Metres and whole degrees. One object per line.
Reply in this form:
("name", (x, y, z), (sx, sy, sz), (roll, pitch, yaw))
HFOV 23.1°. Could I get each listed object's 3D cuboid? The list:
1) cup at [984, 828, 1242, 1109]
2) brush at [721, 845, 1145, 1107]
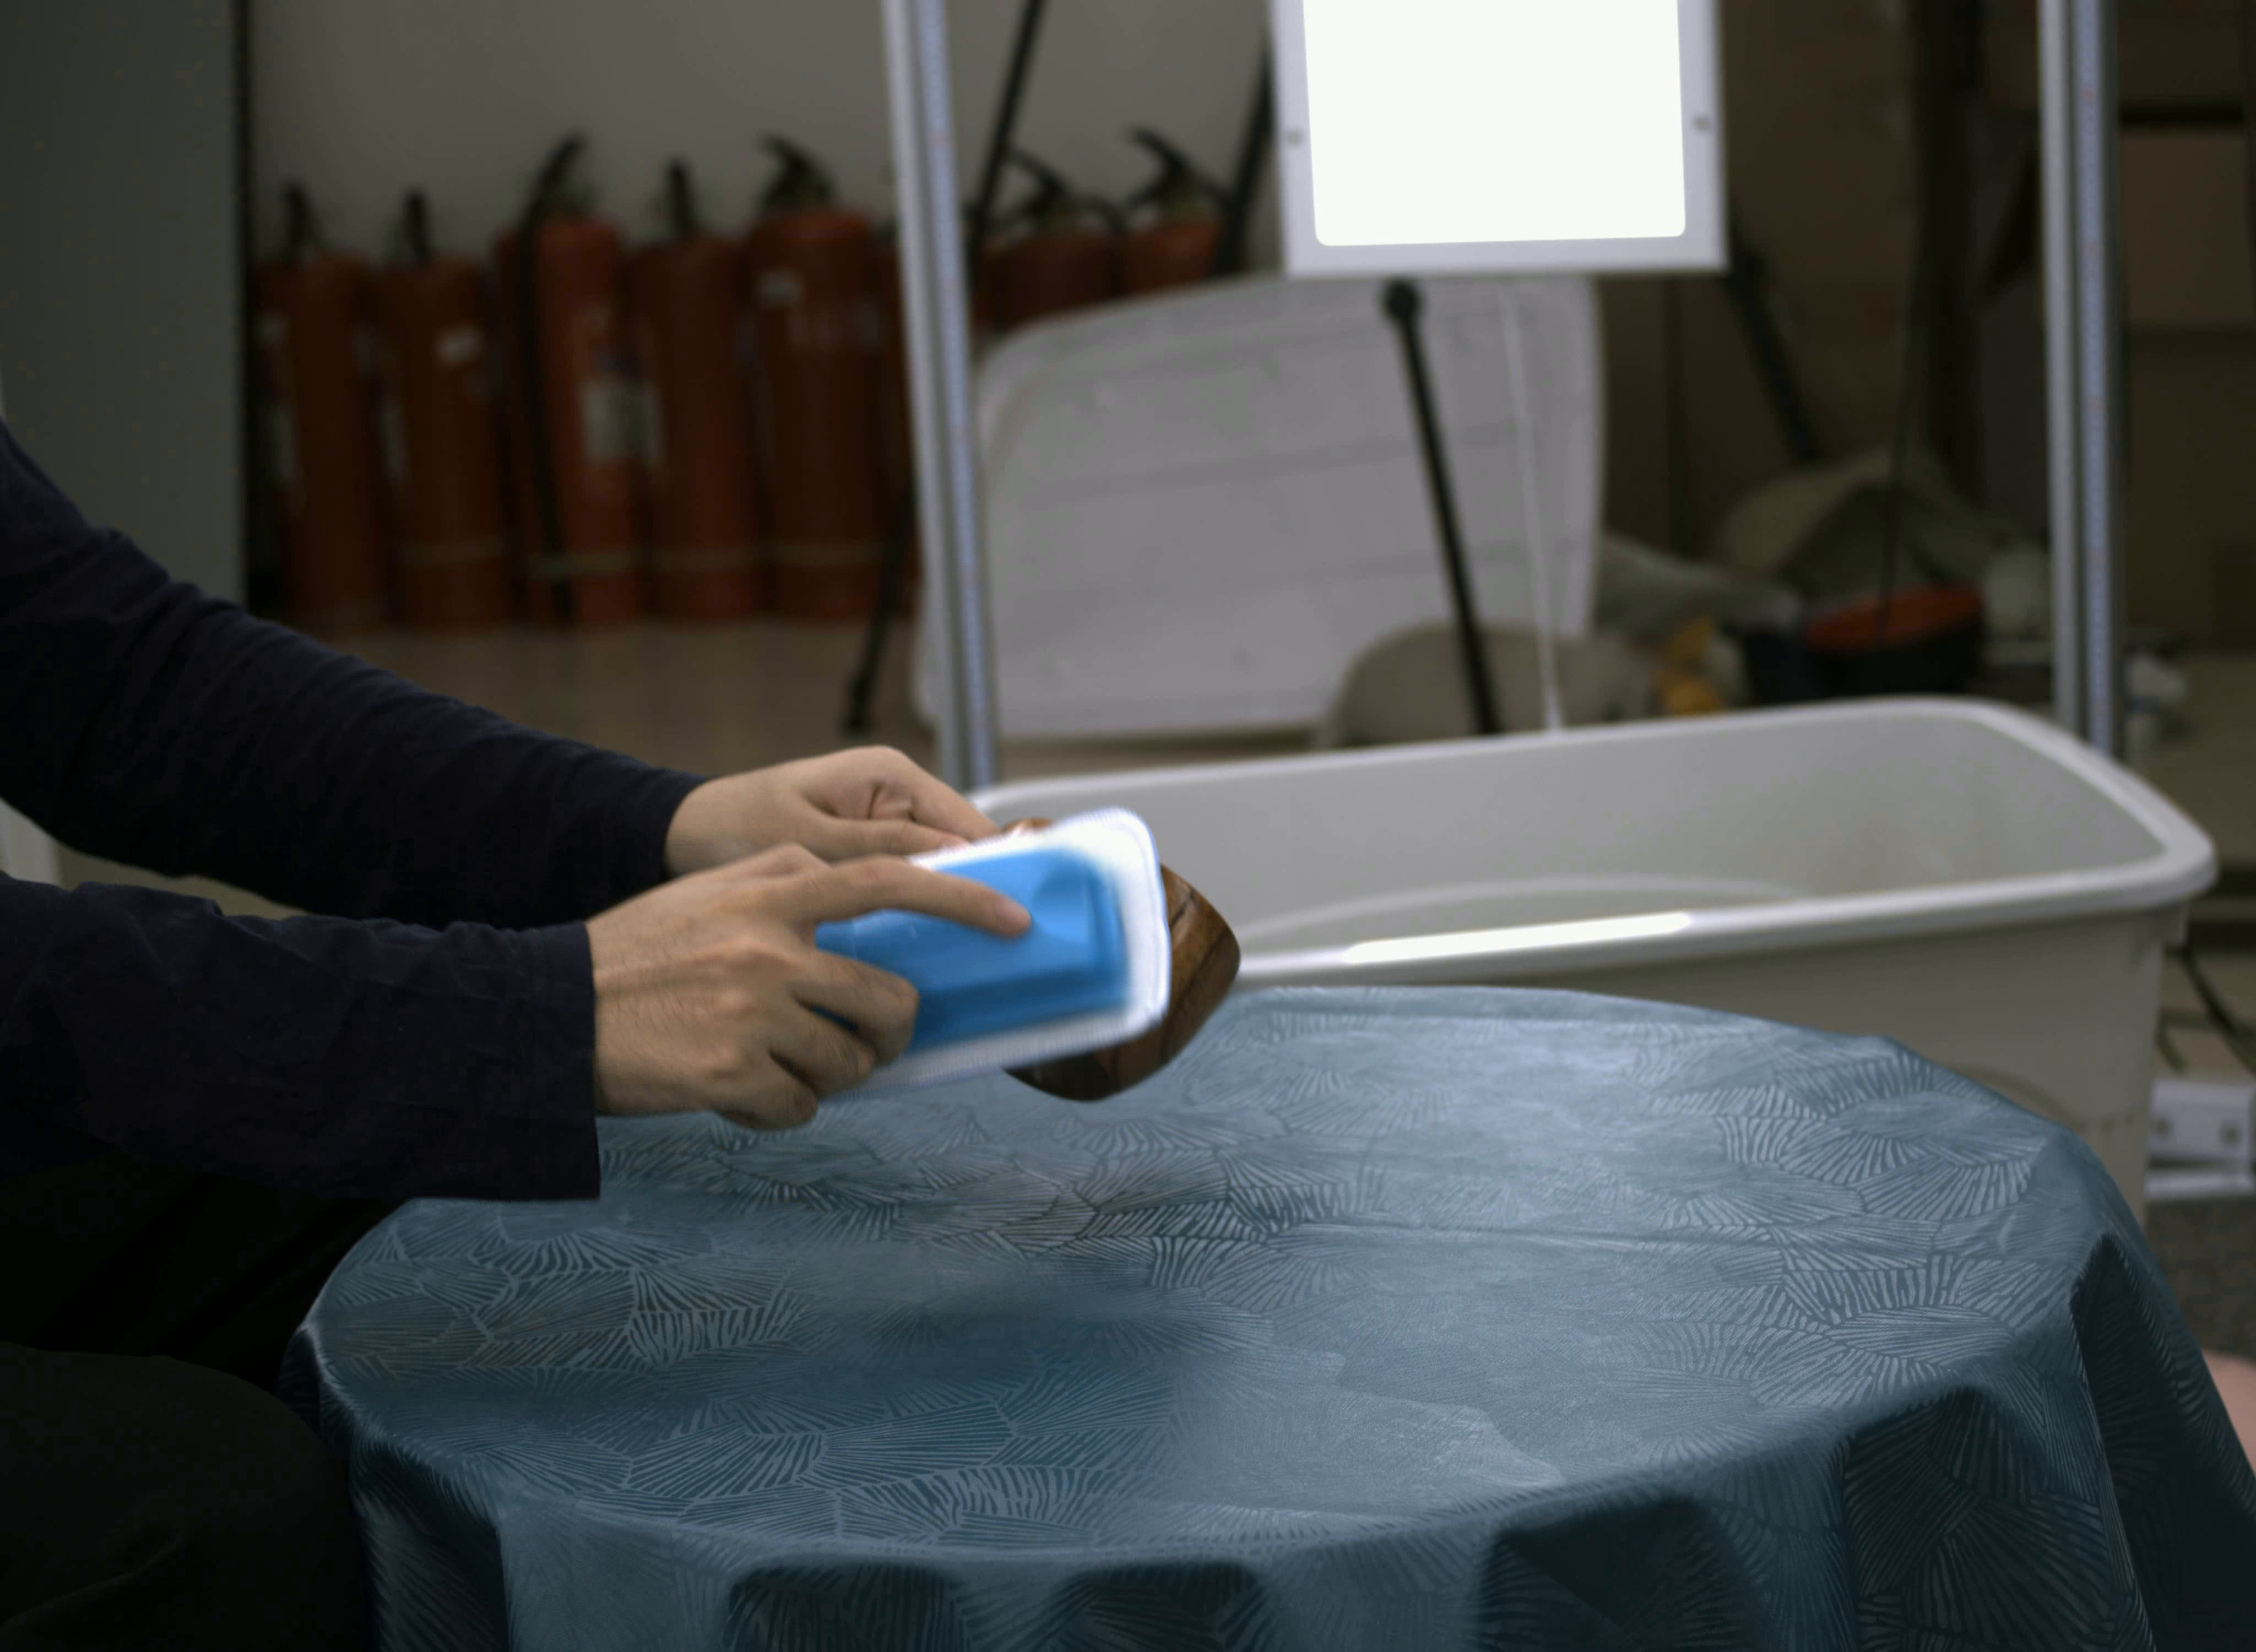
("cup", (-0.027, 0.050, 1.881), (0.121, 0.067, 0.095), (18, -23, 22))
("brush", (-0.067, 0.041, 1.790), (0.145, 0.084, 0.055), (-8, -26, 14))
